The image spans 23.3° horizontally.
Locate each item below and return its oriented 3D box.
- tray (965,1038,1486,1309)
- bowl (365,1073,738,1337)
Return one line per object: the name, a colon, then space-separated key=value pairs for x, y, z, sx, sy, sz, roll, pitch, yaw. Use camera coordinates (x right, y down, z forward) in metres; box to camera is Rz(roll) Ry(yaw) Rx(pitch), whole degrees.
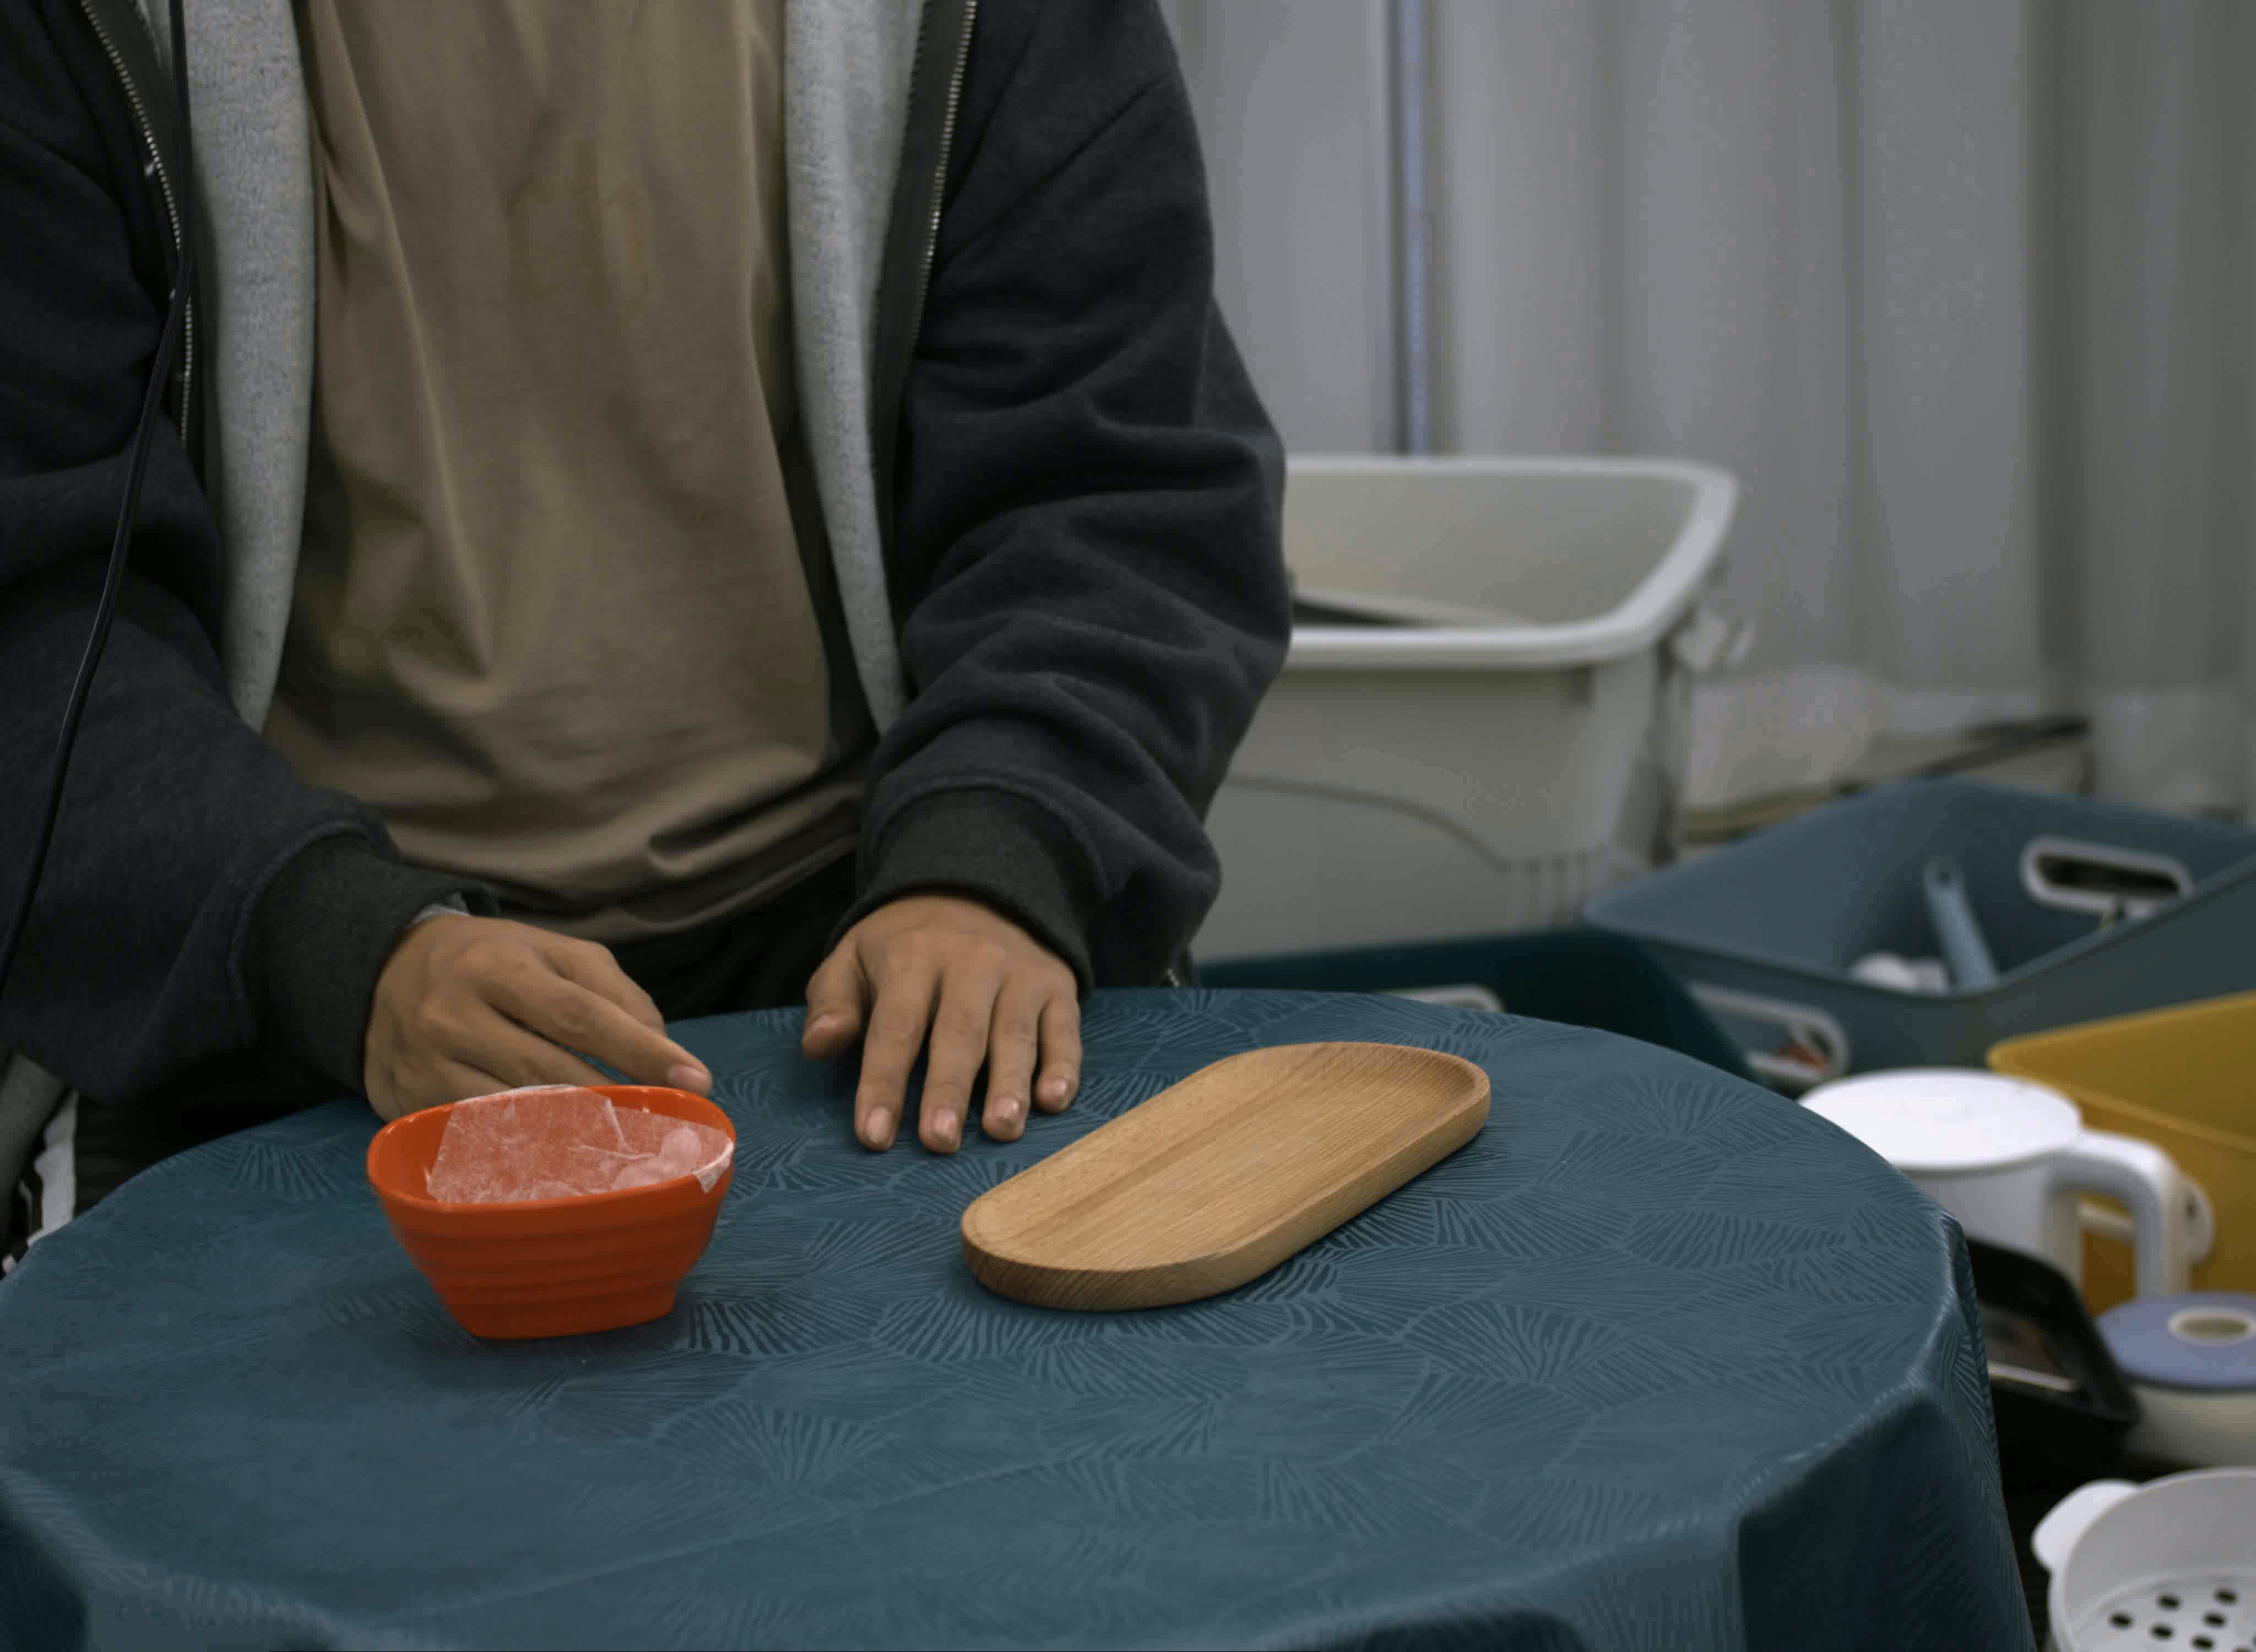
tray: x=0.033 y=0.107 z=1.709 sx=0.102 sy=0.020 sz=0.231 roll=6 pitch=17 yaw=29
bowl: x=-0.171 y=0.116 z=1.639 sx=0.118 sy=0.051 sz=0.120 roll=-3 pitch=16 yaw=1
